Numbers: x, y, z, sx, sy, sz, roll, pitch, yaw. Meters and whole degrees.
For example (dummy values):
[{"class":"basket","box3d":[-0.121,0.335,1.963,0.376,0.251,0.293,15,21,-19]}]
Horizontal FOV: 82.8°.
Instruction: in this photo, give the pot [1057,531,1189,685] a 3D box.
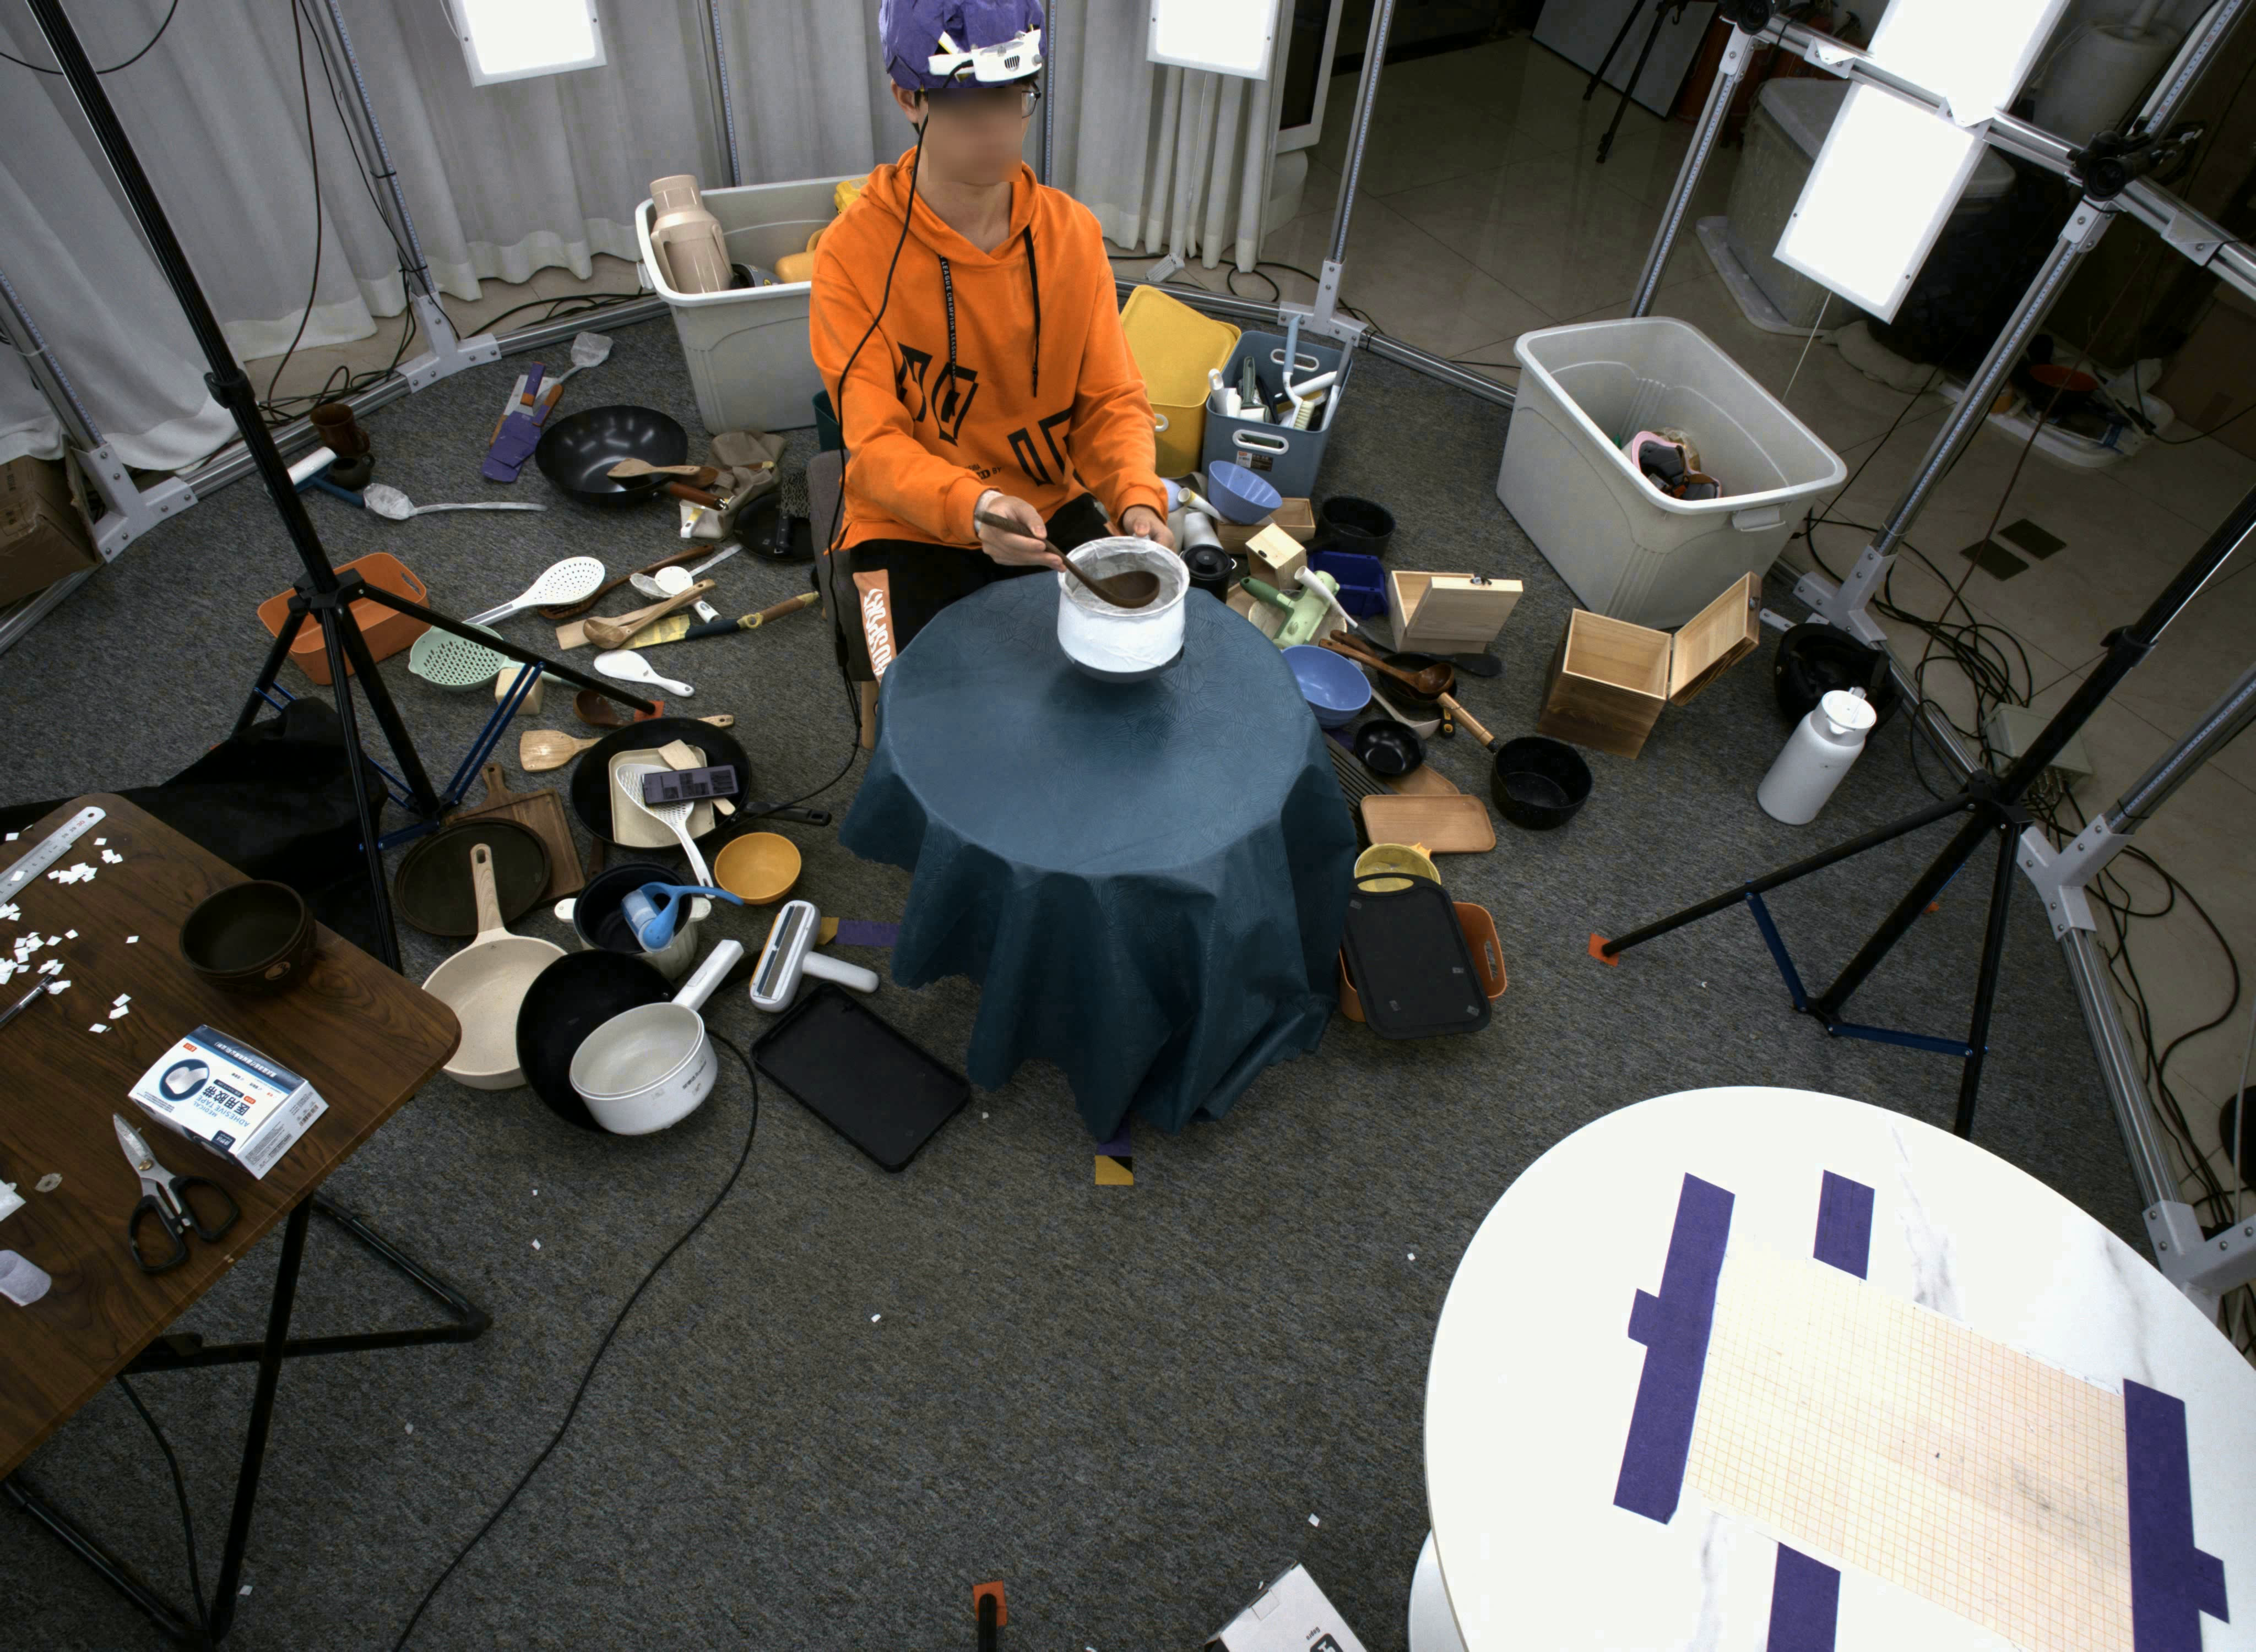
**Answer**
[{"class":"pot","box3d":[-0.003,-0.311,1.782,0.179,0.133,0.239,10,47,7]}]

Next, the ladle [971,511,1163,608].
[{"class":"ladle","box3d":[-0.070,-0.354,1.641,0.270,0.071,0.078,27,20,-35]}]
